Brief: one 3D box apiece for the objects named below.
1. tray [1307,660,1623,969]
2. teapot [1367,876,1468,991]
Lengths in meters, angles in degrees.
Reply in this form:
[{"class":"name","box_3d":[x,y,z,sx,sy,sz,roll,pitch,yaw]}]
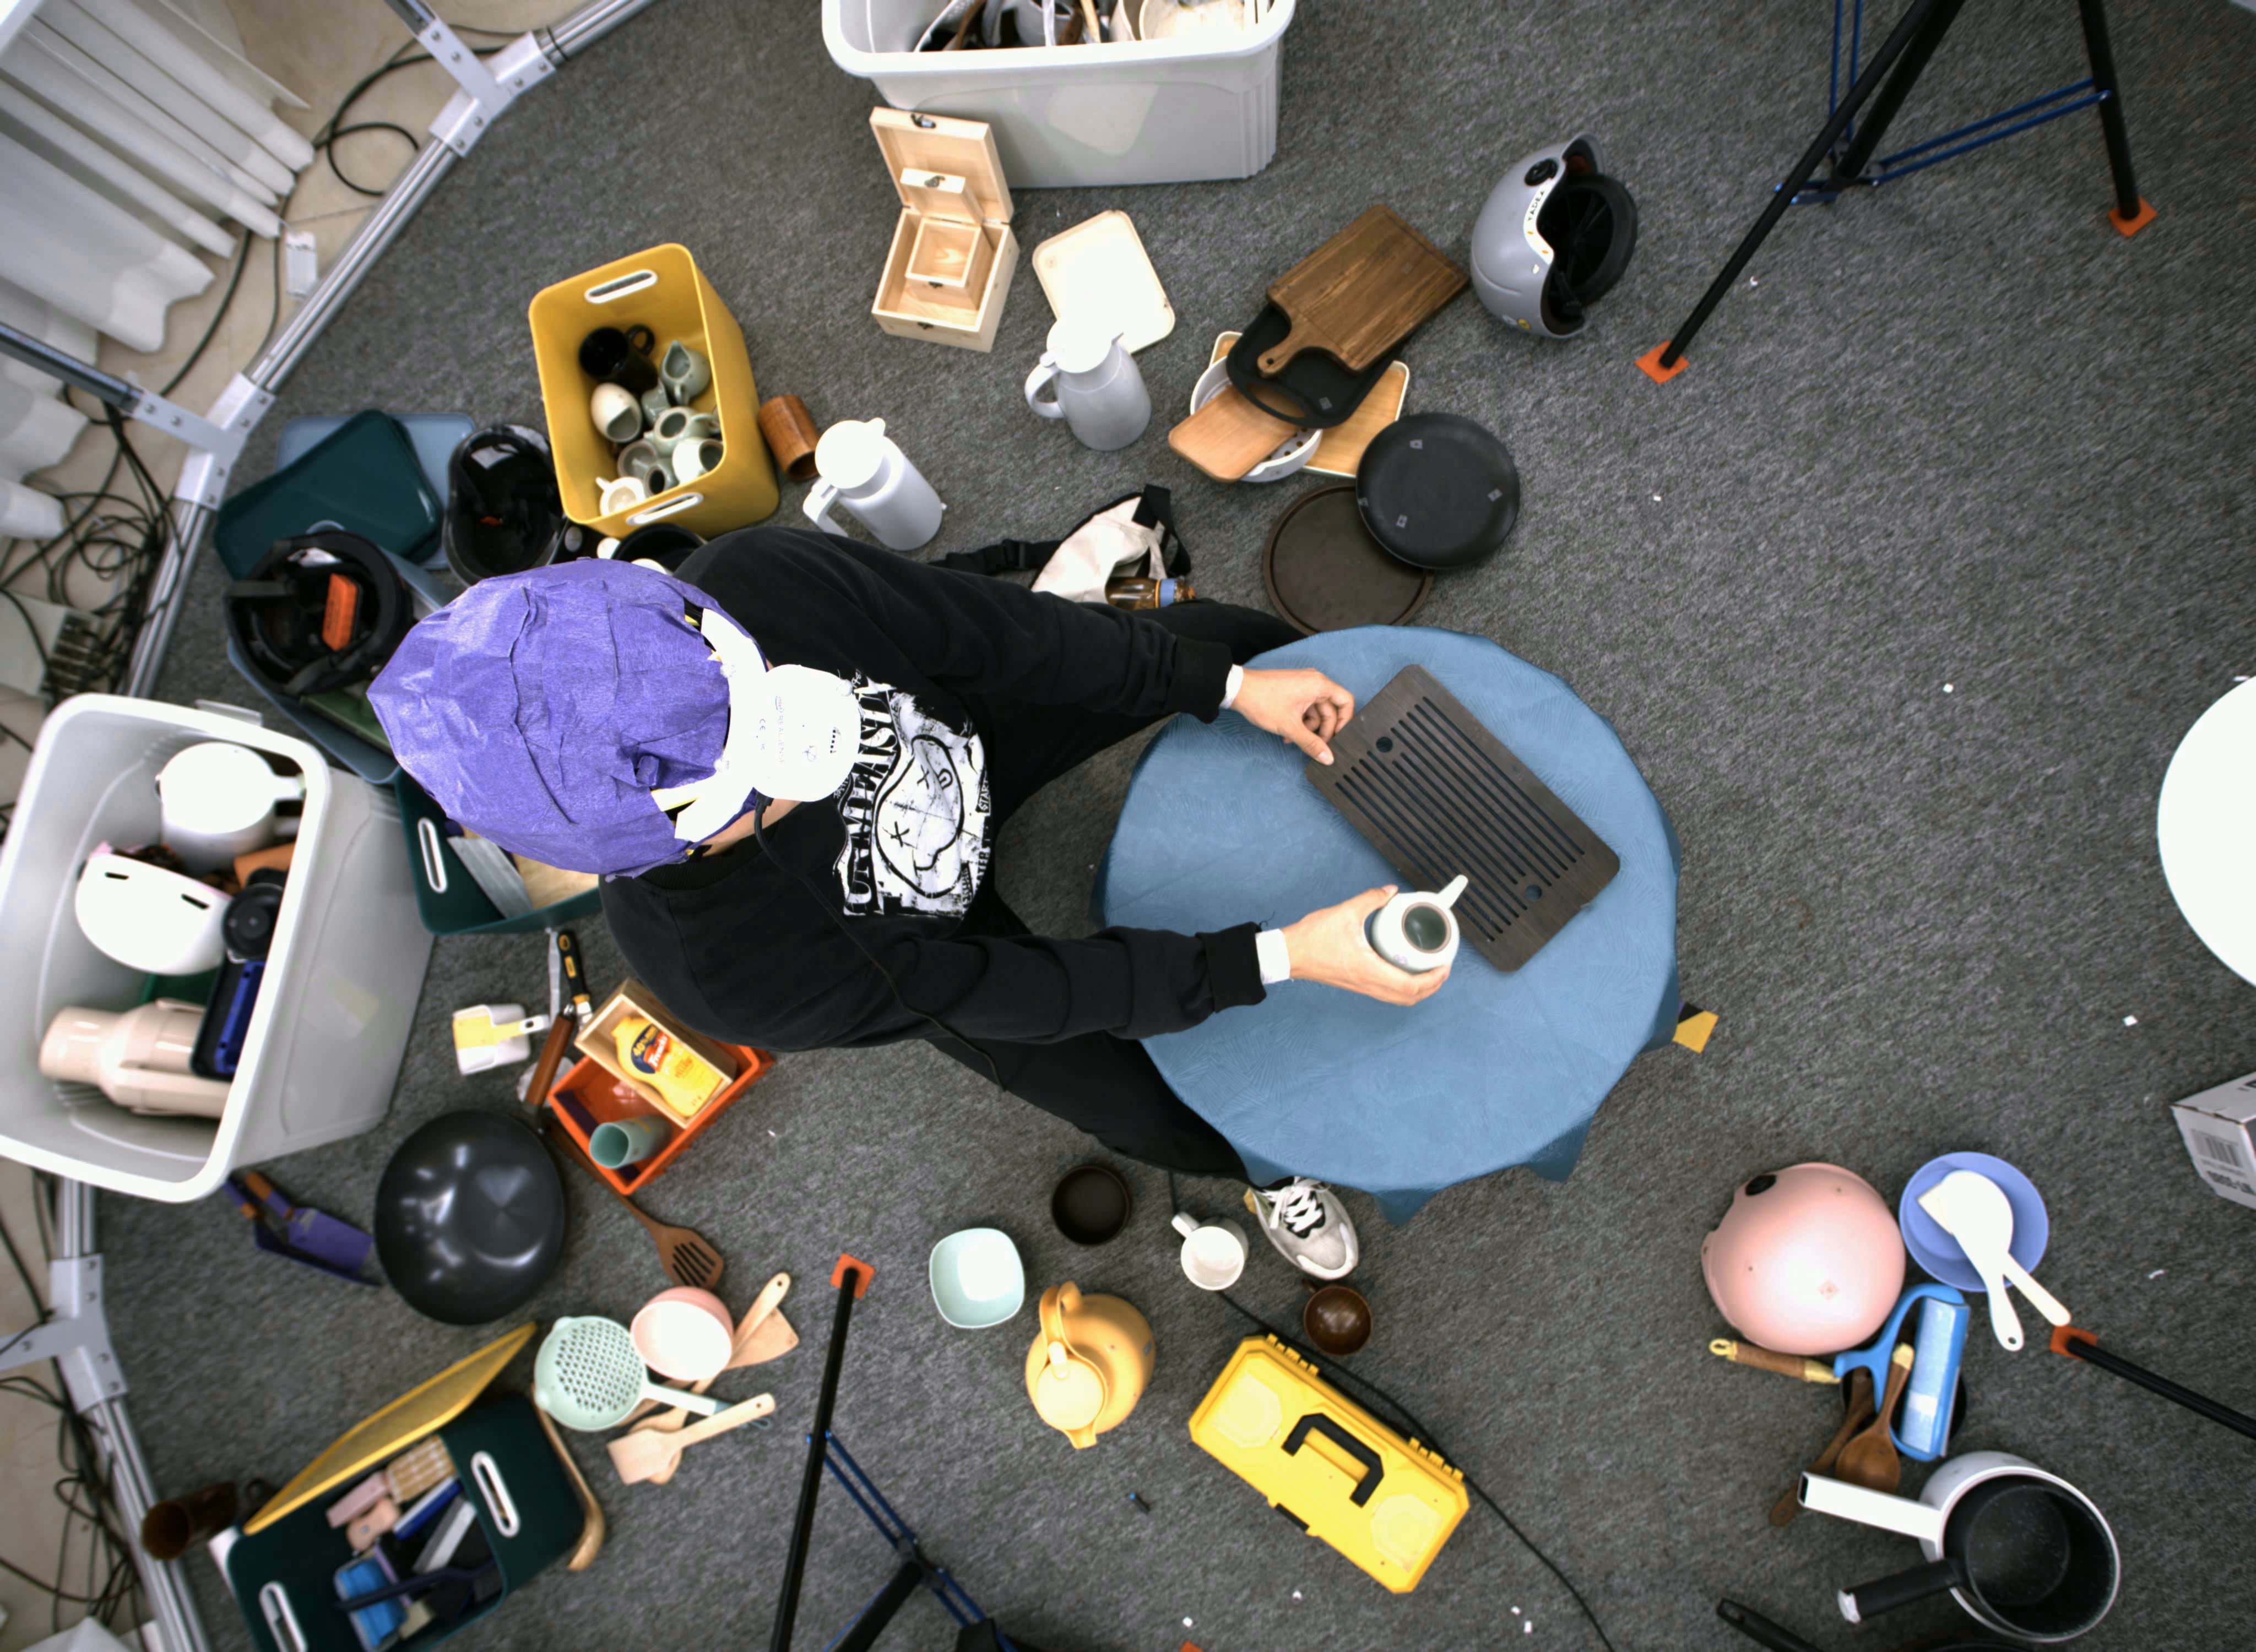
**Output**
[{"class":"tray","box_3d":[0.348,-0.015,1.431,0.171,0.018,0.305,-45,84,7]},{"class":"teapot","box_3d":[0.277,0.107,1.343,0.088,0.076,0.141,43,67,5]}]
